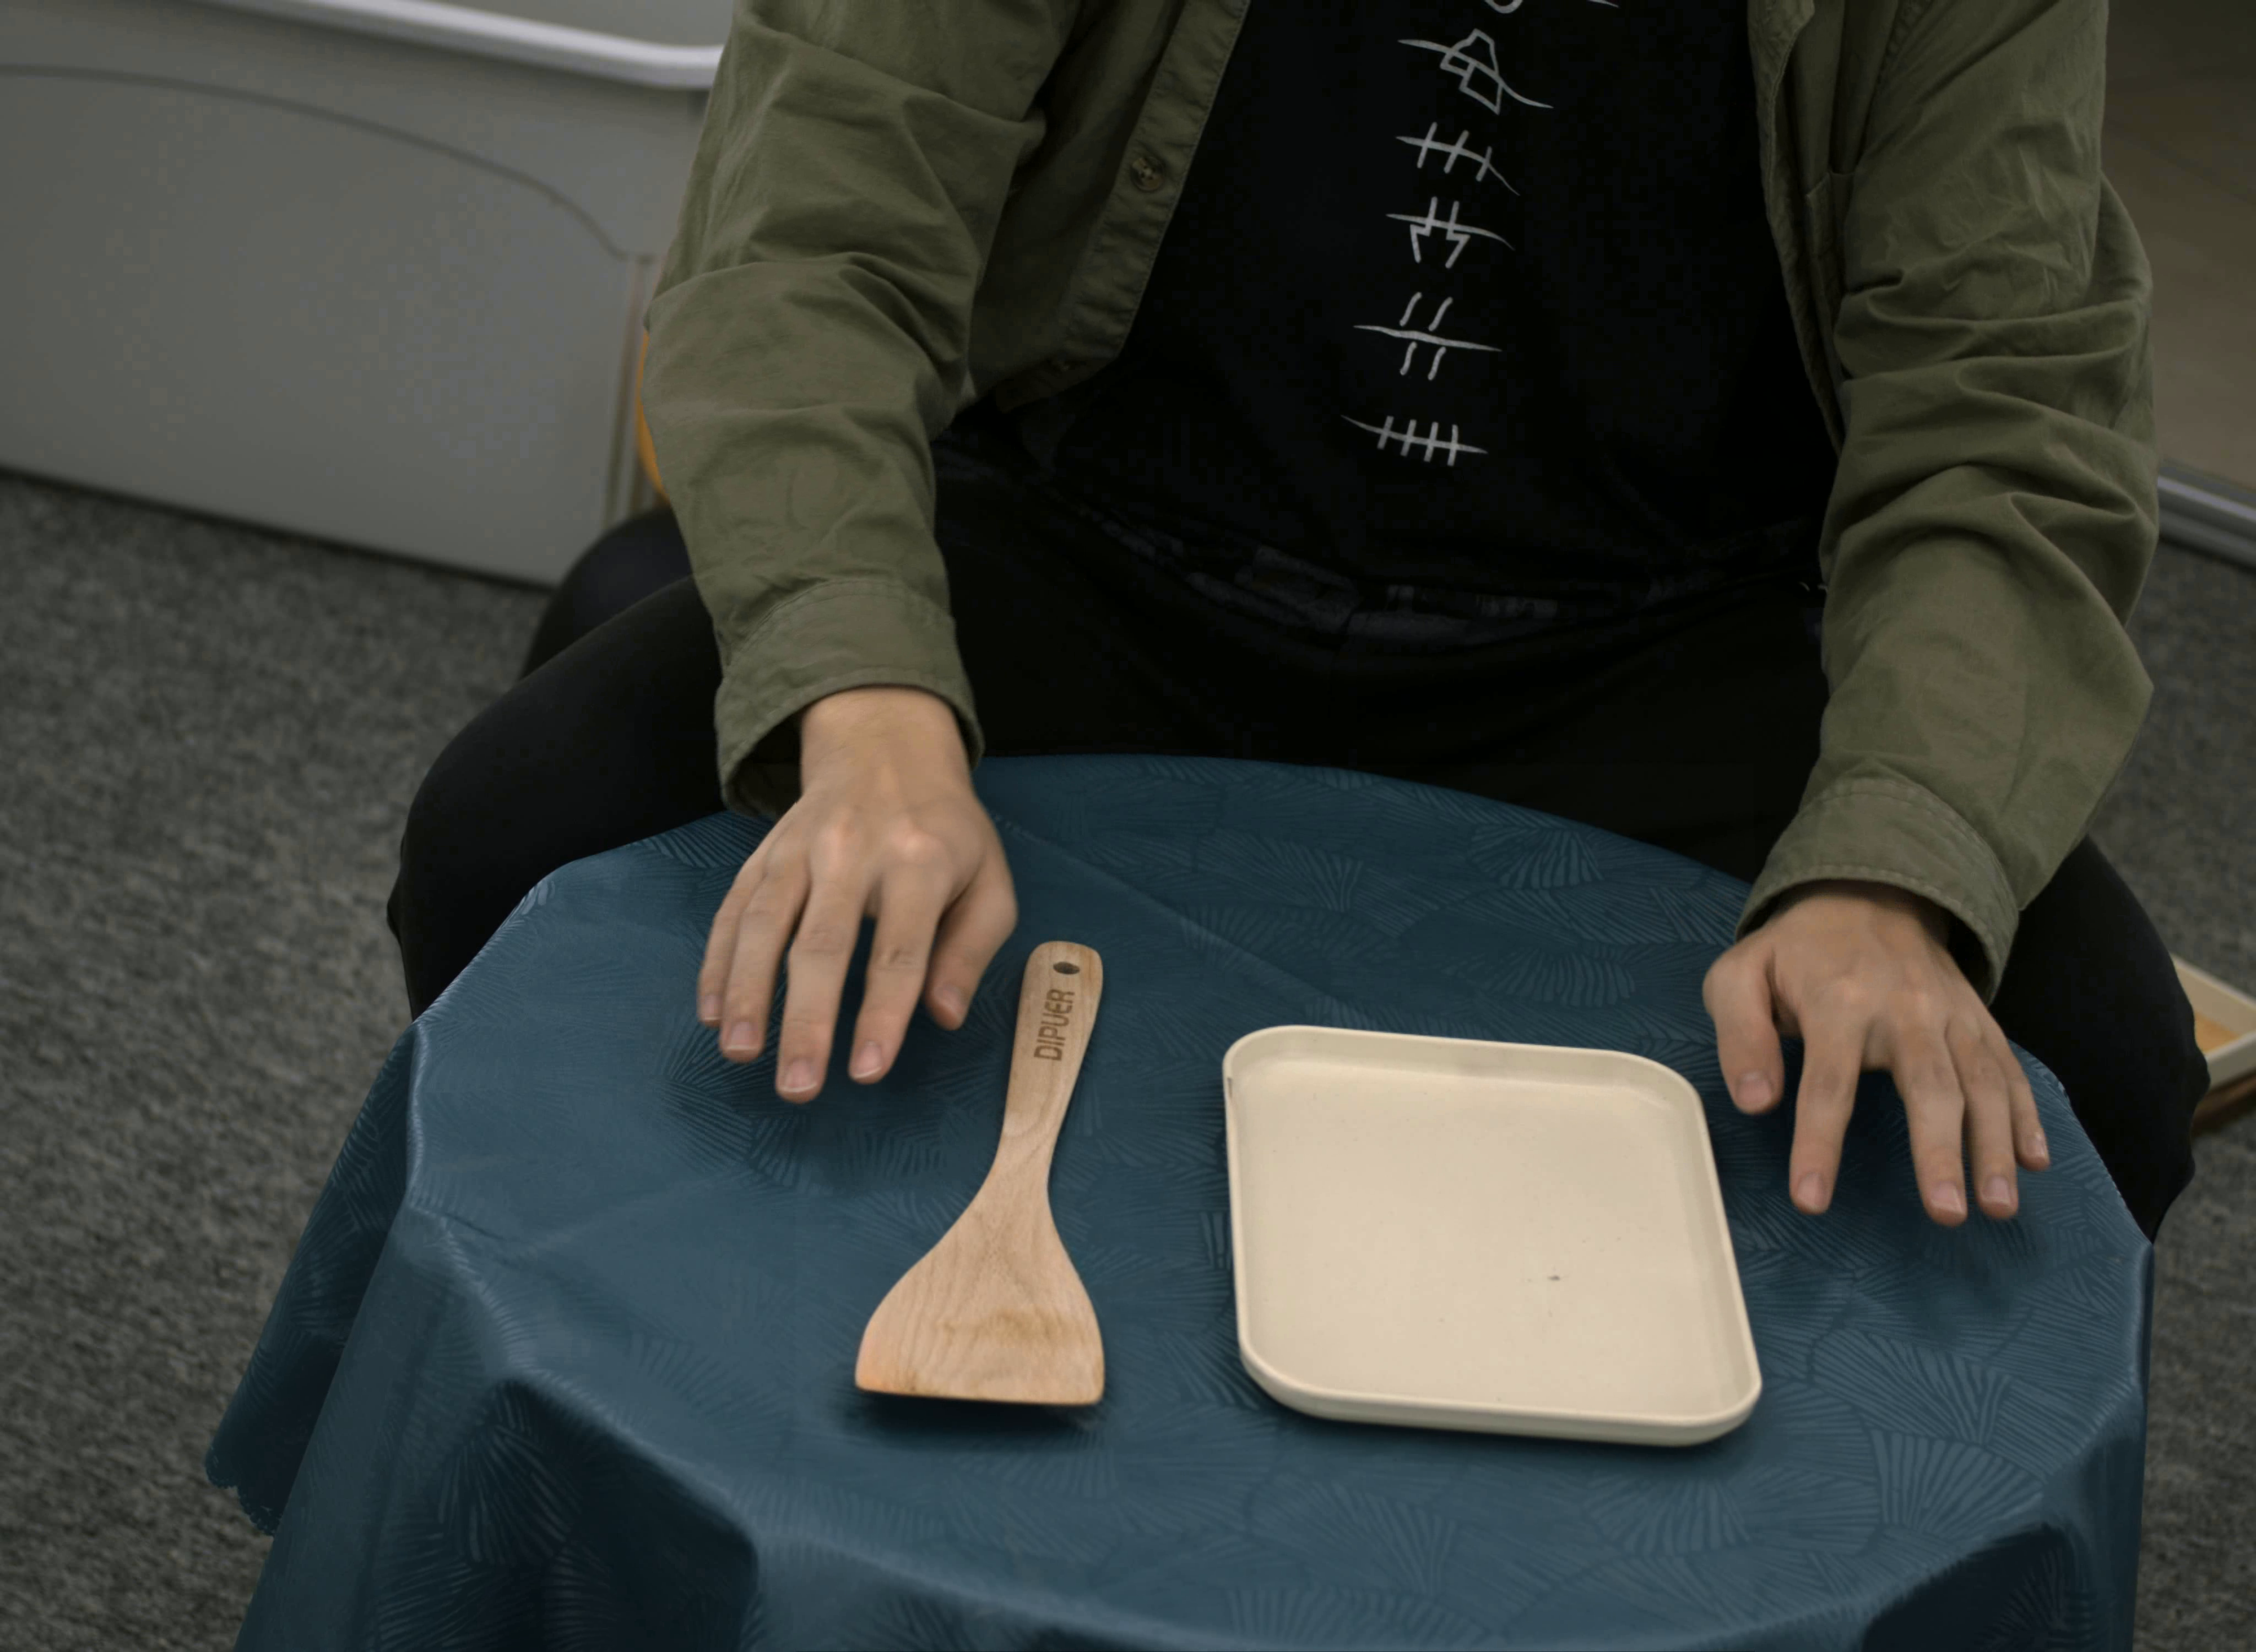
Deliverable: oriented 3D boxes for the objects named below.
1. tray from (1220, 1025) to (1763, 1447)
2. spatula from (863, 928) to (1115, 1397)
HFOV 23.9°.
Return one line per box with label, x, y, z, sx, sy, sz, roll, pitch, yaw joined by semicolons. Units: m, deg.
tray;0.117;0.136;1.780;0.171;0.017;0.241;5;26;-3
spatula;-0.033;0.109;1.801;0.080;0.016;0.329;7;27;1
